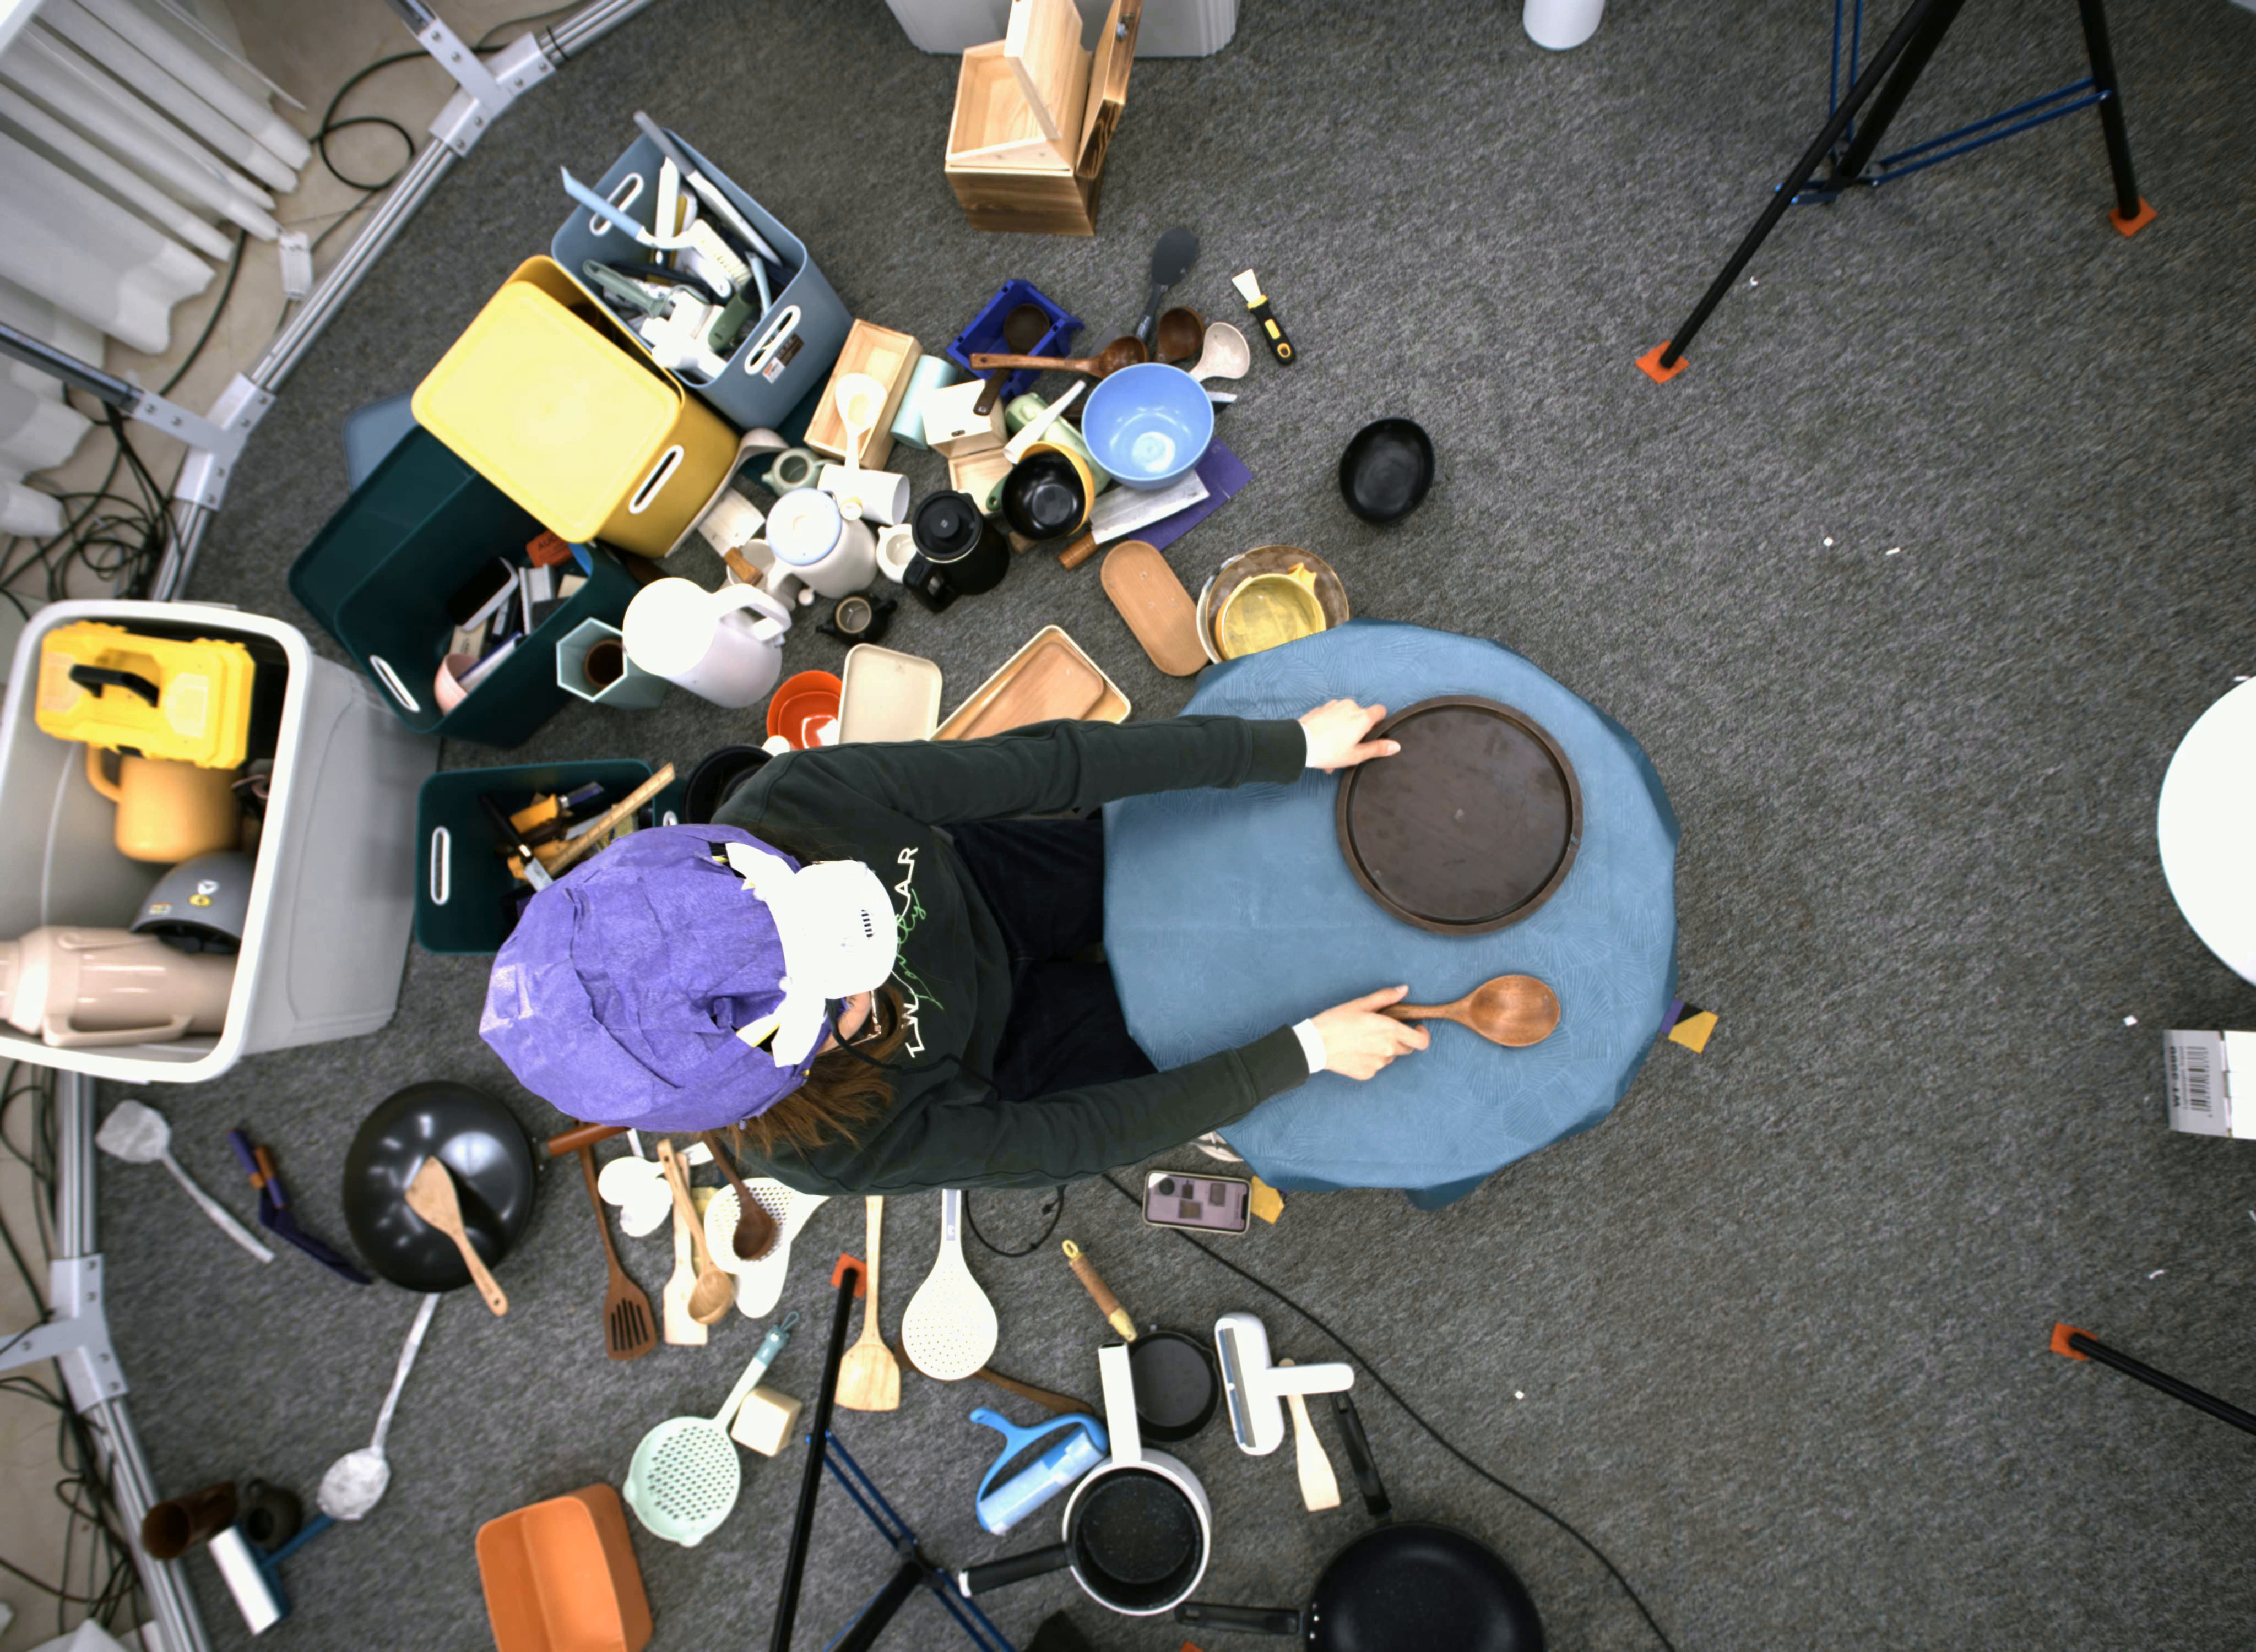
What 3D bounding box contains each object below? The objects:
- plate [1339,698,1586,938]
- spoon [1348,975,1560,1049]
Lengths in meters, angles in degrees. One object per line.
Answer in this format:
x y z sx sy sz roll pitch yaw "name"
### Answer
0.349 -0.010 1.445 0.256 0.029 0.253 -1 85 9 "plate"
0.337 0.193 1.435 0.217 0.017 0.075 -3 86 10 "spoon"
